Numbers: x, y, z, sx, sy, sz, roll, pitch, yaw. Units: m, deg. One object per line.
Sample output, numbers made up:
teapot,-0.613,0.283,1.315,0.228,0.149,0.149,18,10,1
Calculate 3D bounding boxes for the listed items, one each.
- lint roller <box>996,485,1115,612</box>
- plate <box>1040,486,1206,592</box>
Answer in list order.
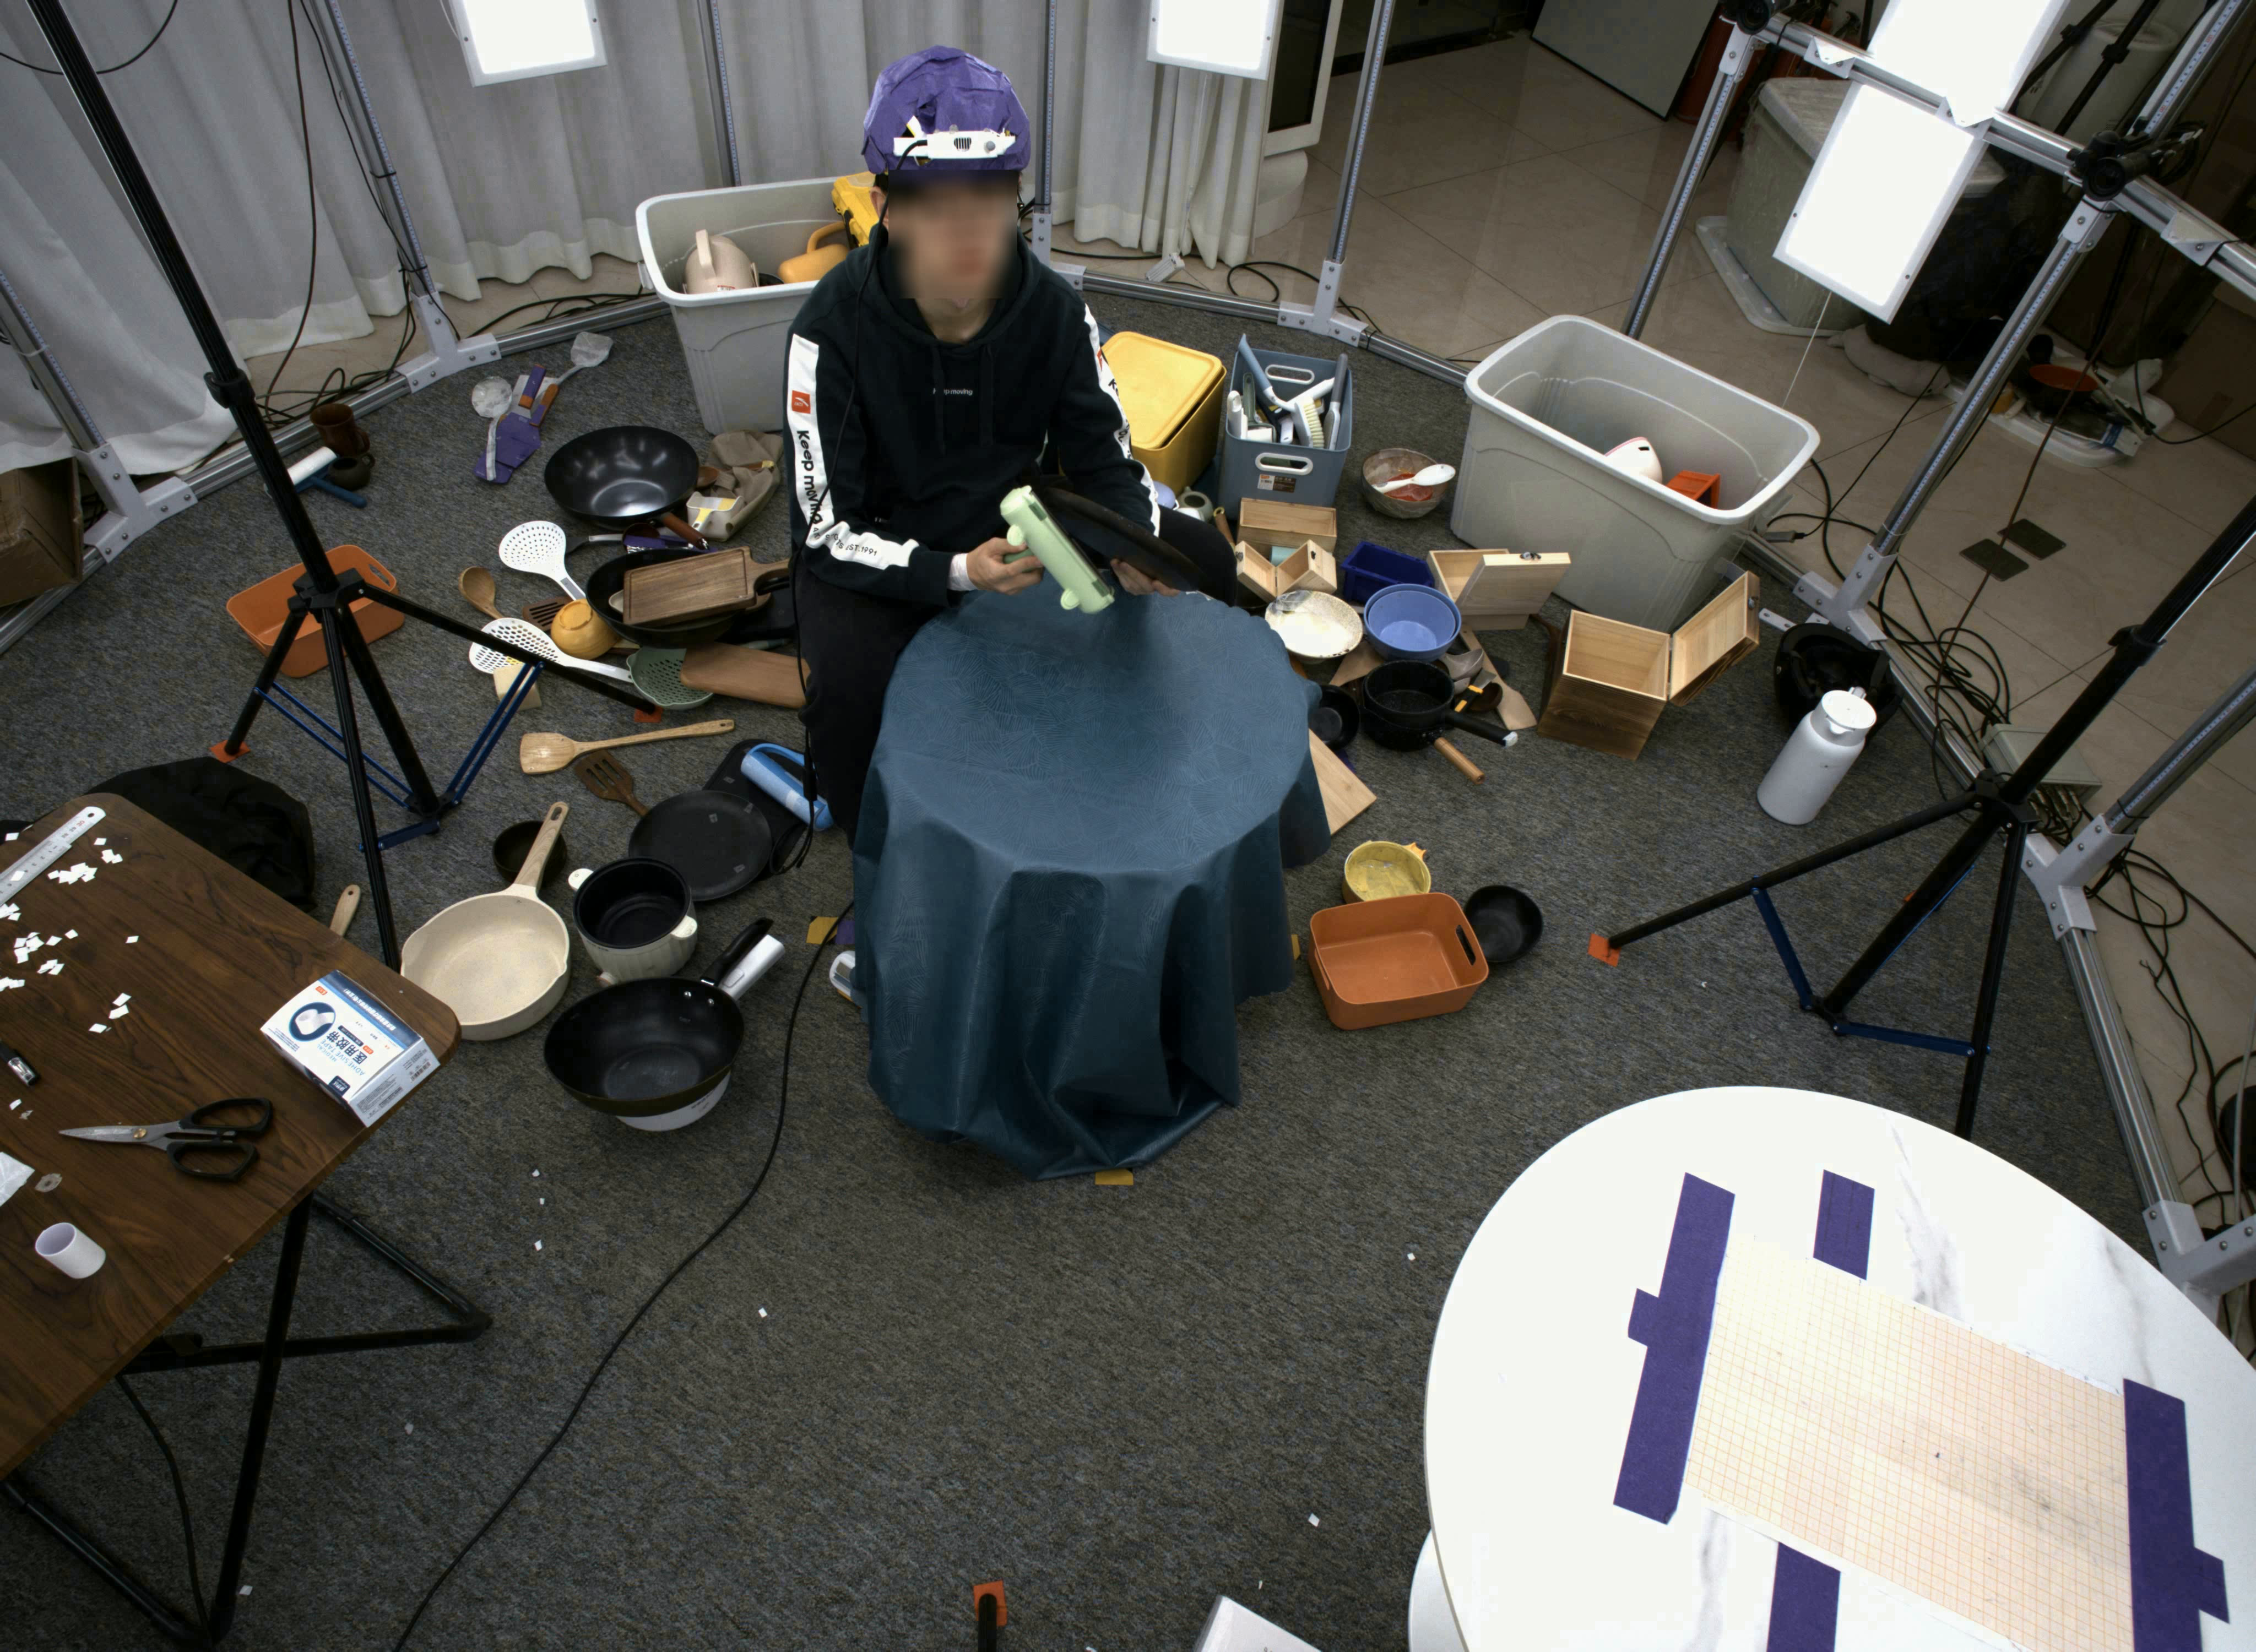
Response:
lint roller,-0.135,-0.361,1.778,0.183,0.195,0.083,-11,41,47
plate,-0.008,-0.385,1.748,0.257,0.252,0.029,29,93,19
